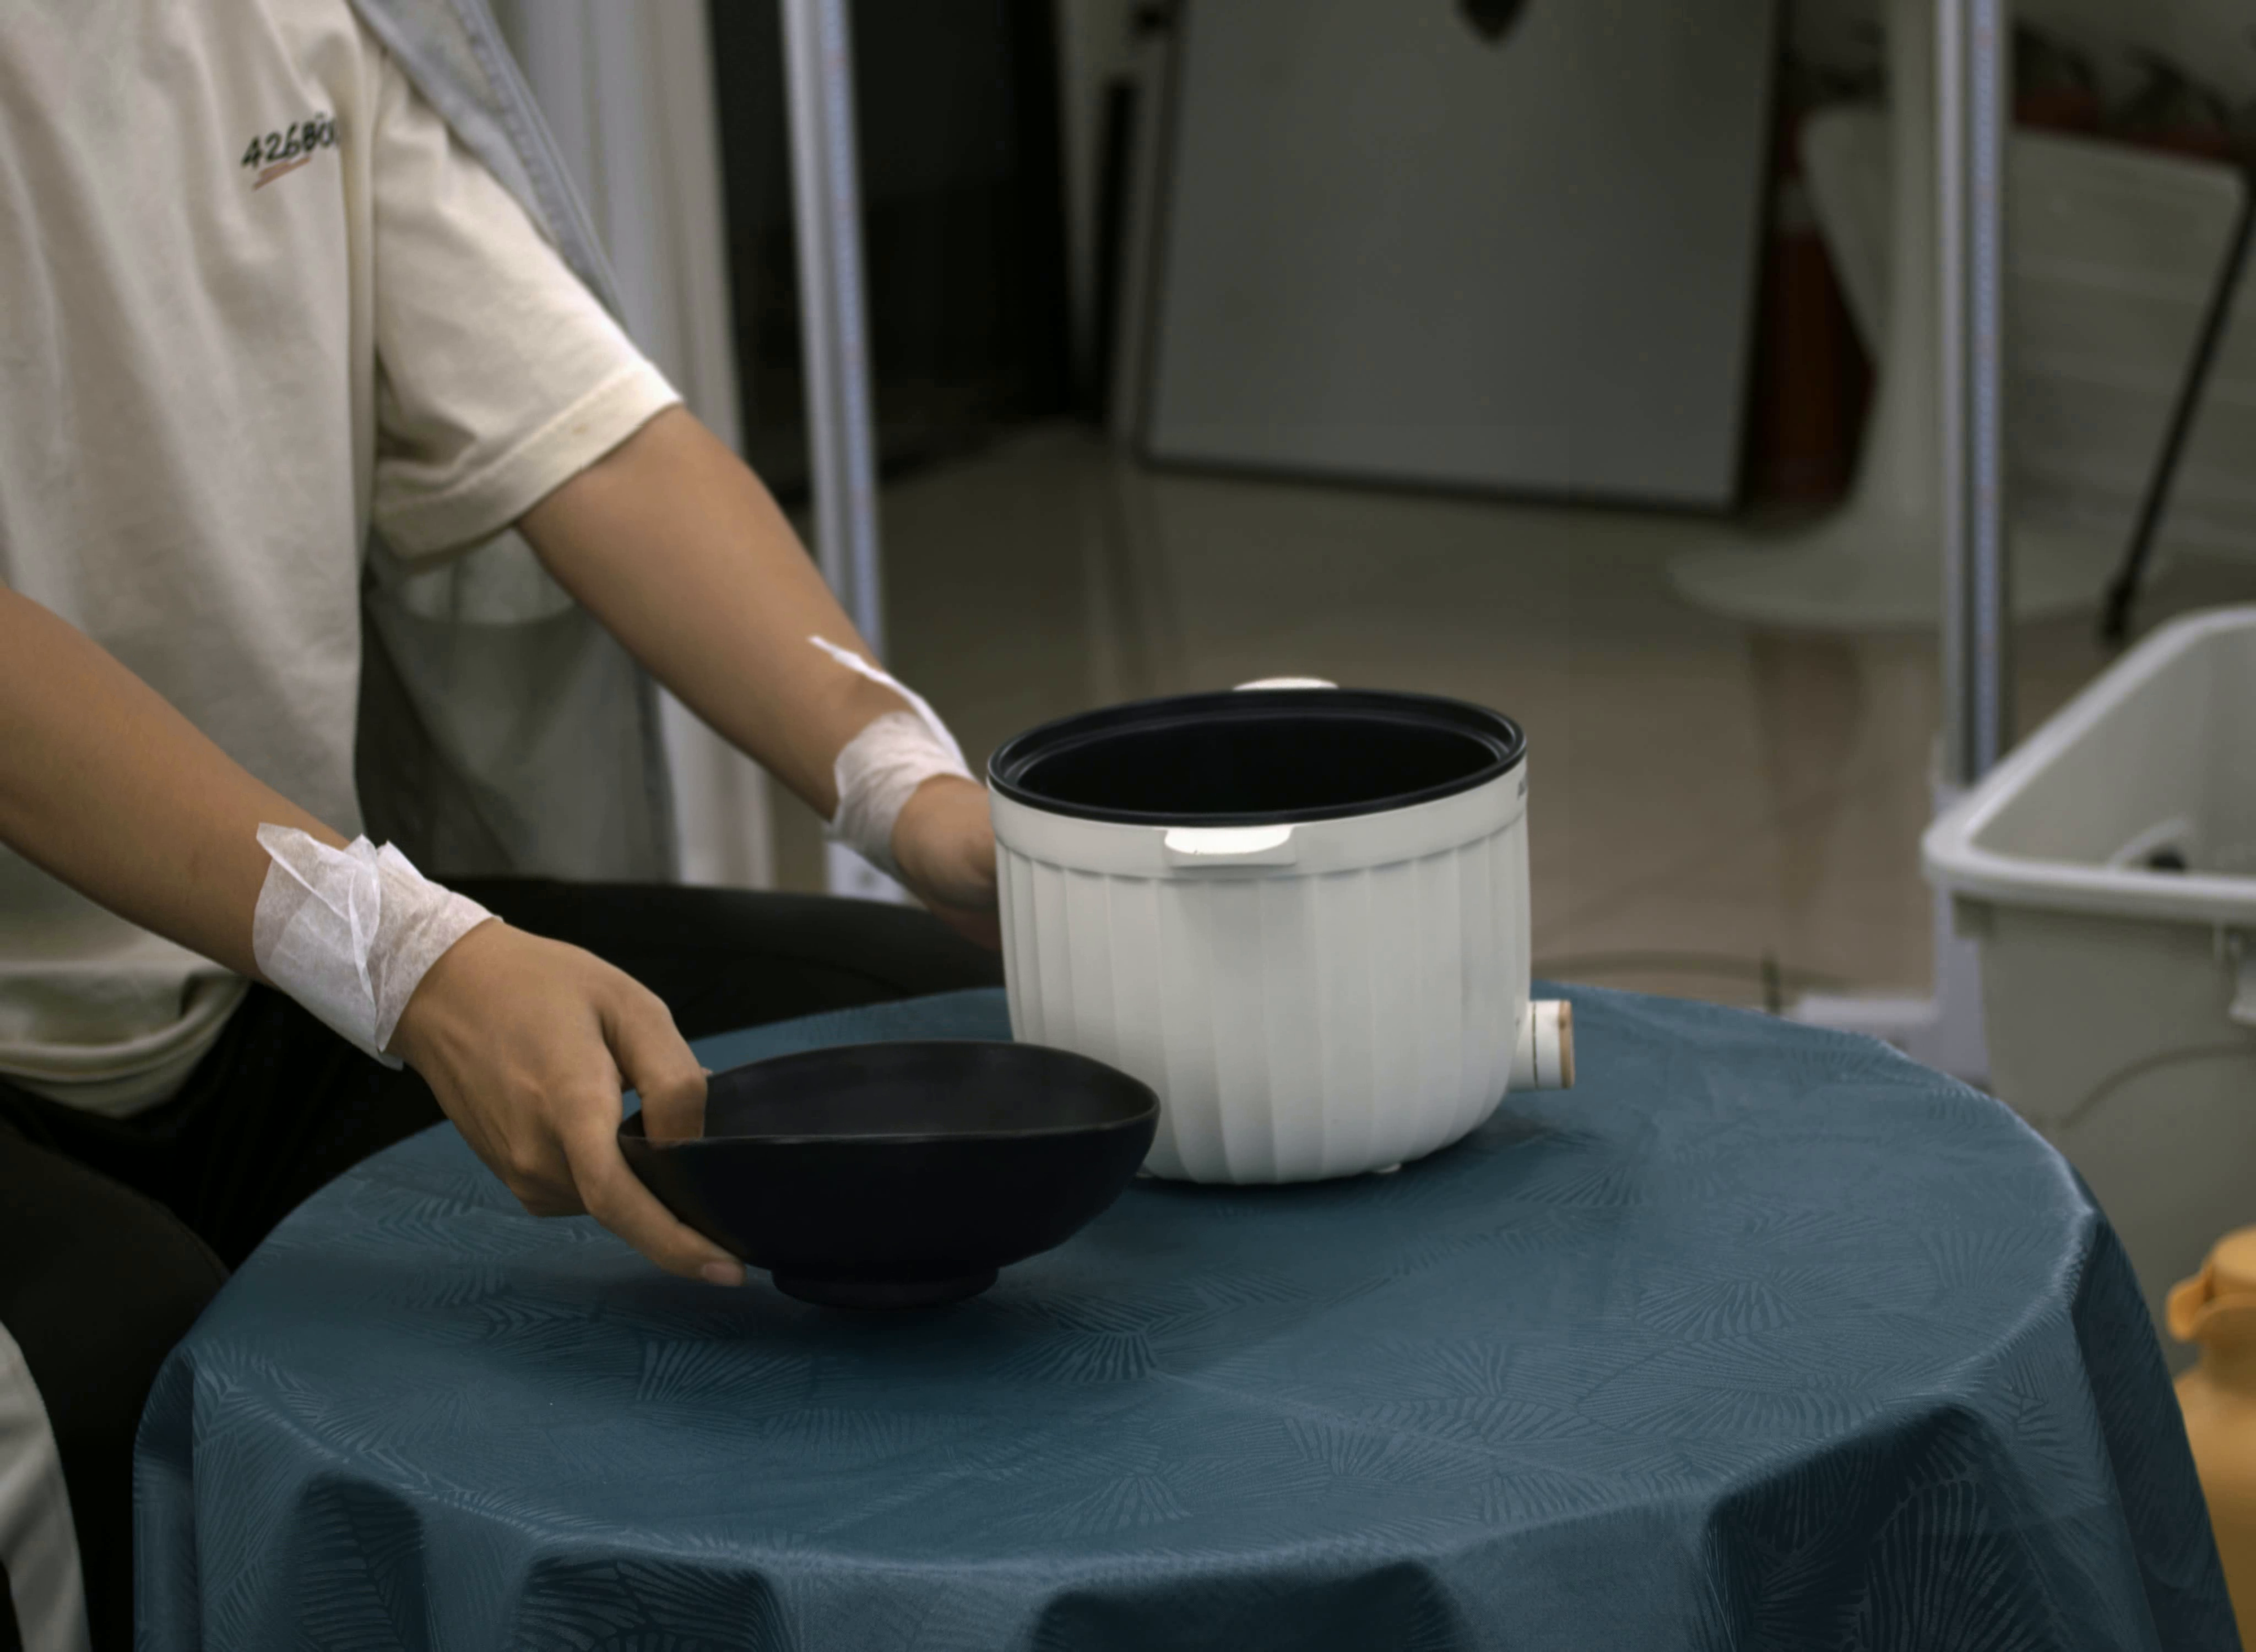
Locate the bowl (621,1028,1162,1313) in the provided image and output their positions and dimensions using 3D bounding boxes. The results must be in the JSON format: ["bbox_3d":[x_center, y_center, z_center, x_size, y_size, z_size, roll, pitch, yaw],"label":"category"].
[{"bbox_3d":[-0.072,0.110,1.663,0.168,0.067,0.137,-2,10,5],"label":"bowl"}]

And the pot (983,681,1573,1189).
[{"bbox_3d":[0.051,0.038,1.808,0.189,0.144,0.240,-5,14,8],"label":"pot"}]
